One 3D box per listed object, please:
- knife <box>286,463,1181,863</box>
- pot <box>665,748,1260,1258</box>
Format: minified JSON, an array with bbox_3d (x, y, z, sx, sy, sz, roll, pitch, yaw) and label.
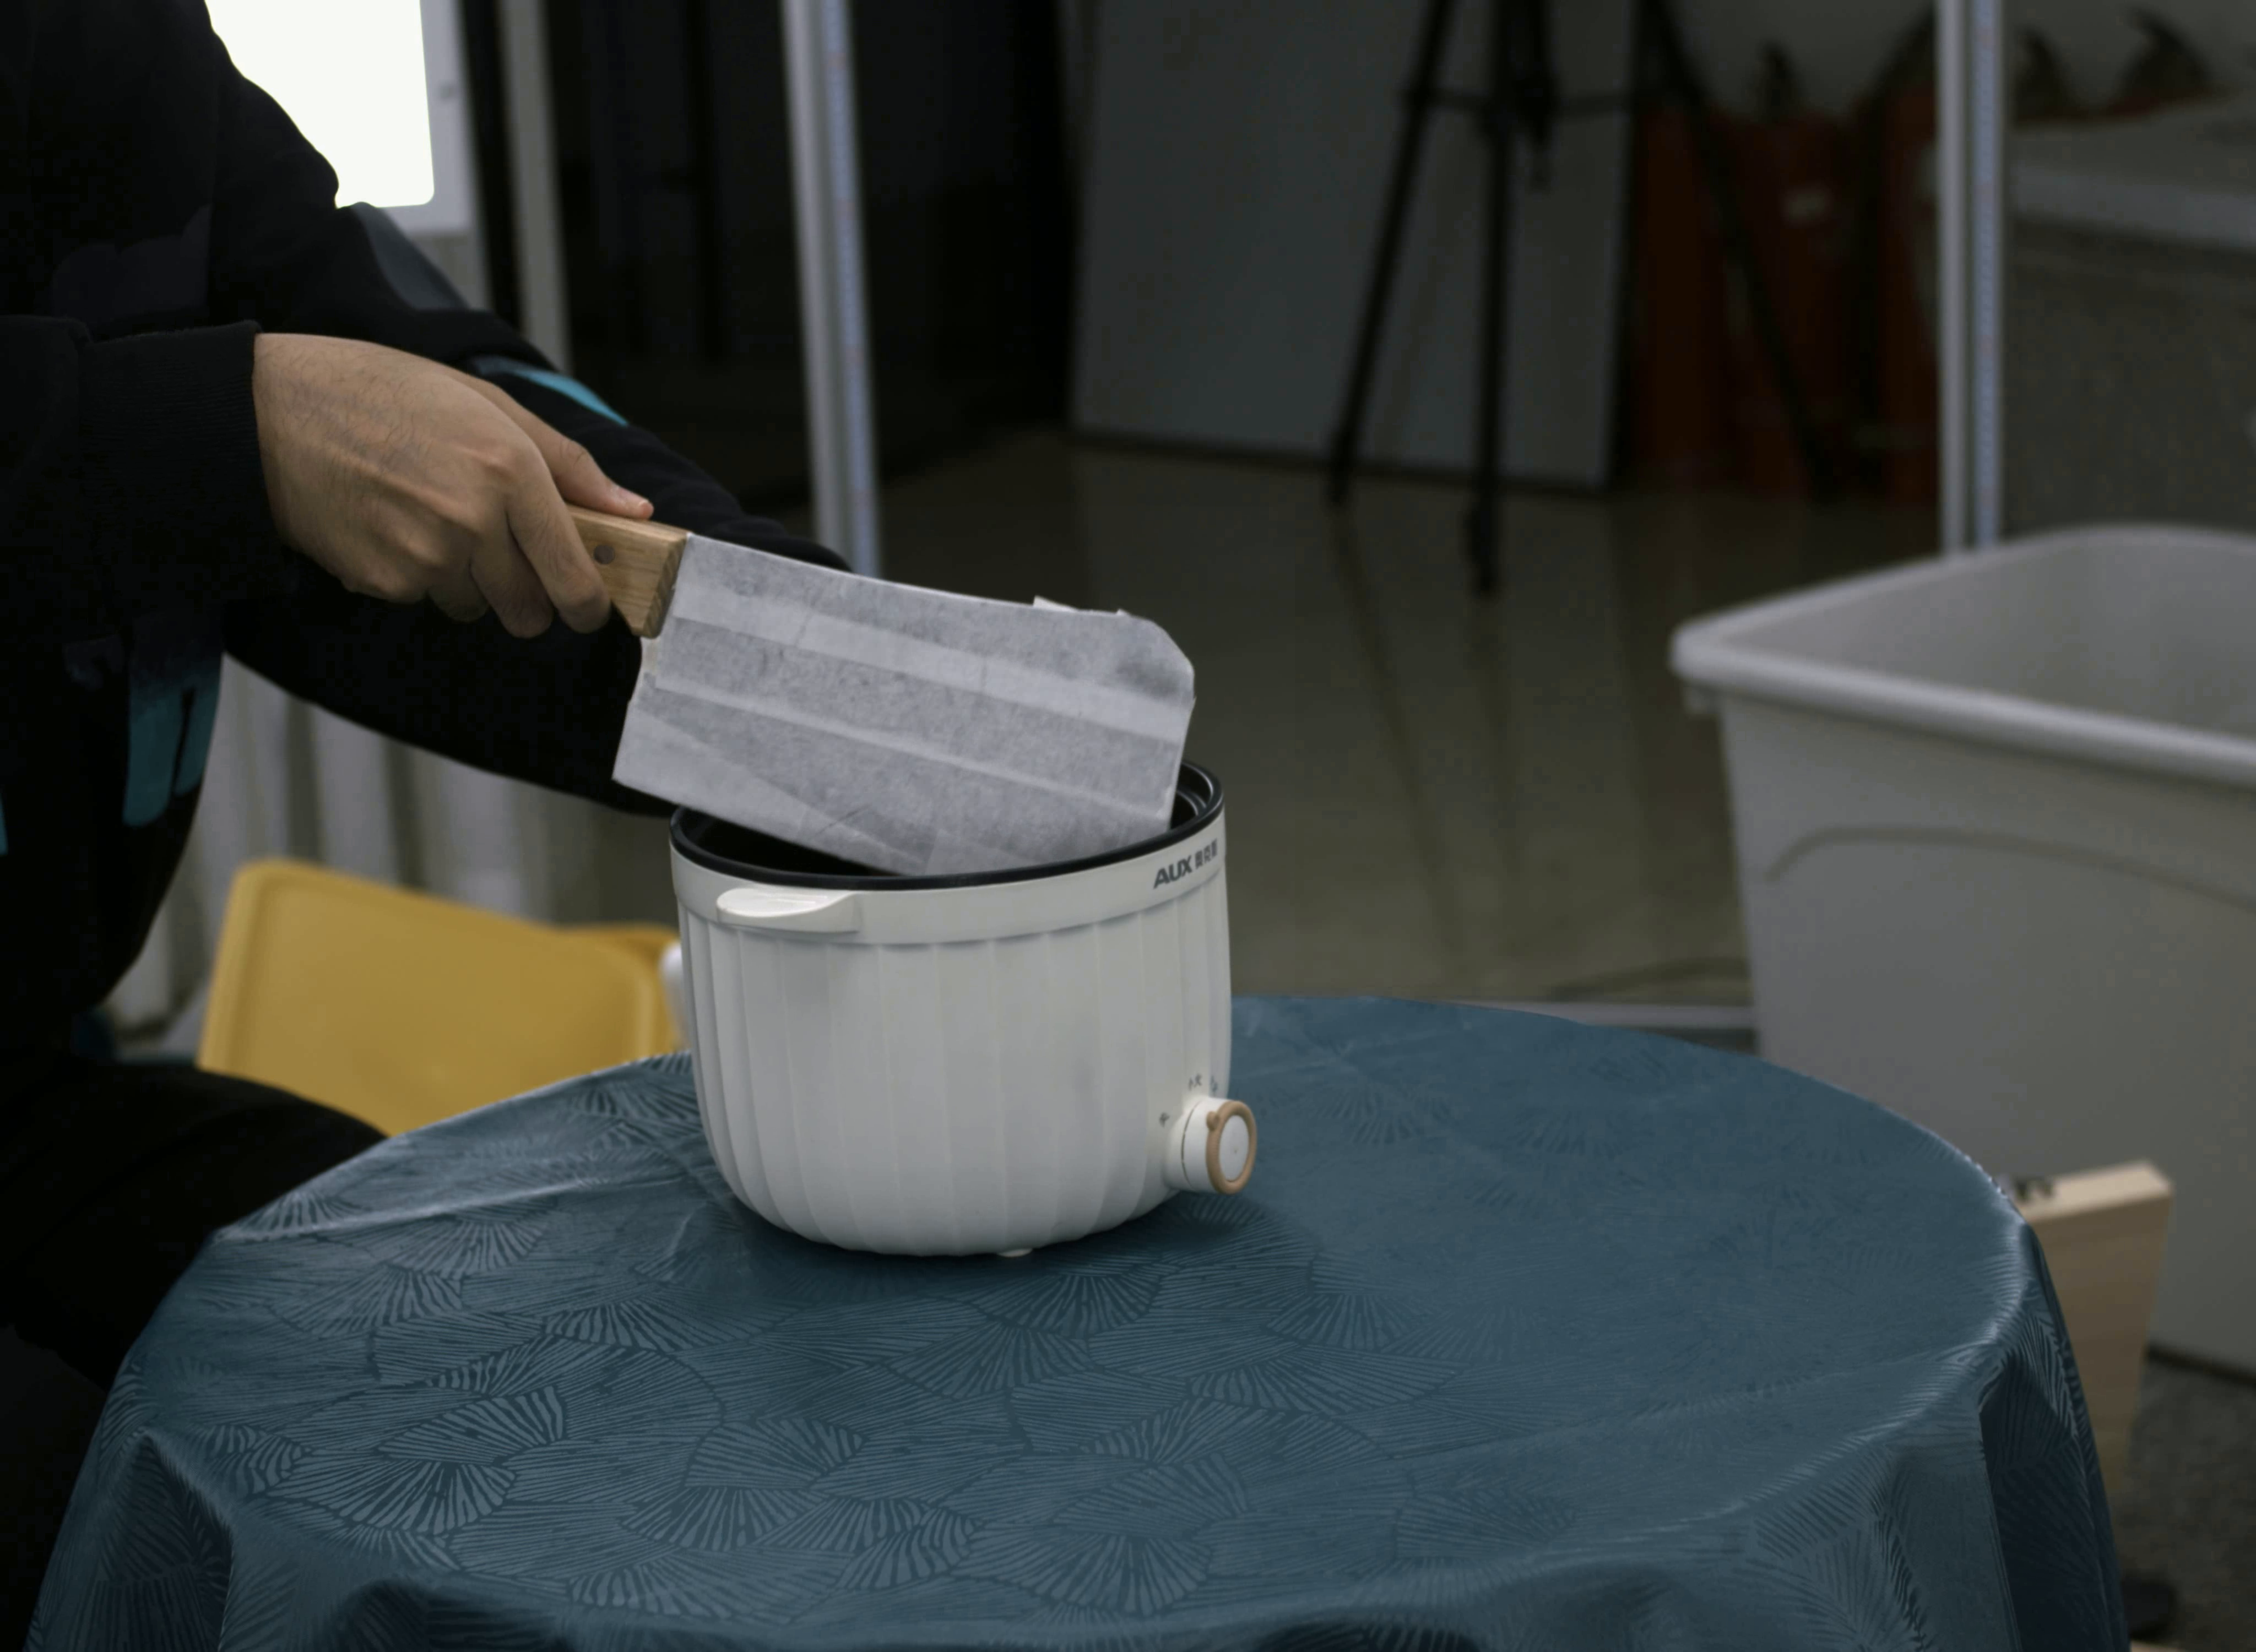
[{"bbox_3d":[-0.126,-0.057,1.736,0.314,0.115,0.021,19,8,12],"label":"knife"},{"bbox_3d":[-0.049,0.057,1.754,0.191,0.144,0.237,0,15,31],"label":"pot"}]
